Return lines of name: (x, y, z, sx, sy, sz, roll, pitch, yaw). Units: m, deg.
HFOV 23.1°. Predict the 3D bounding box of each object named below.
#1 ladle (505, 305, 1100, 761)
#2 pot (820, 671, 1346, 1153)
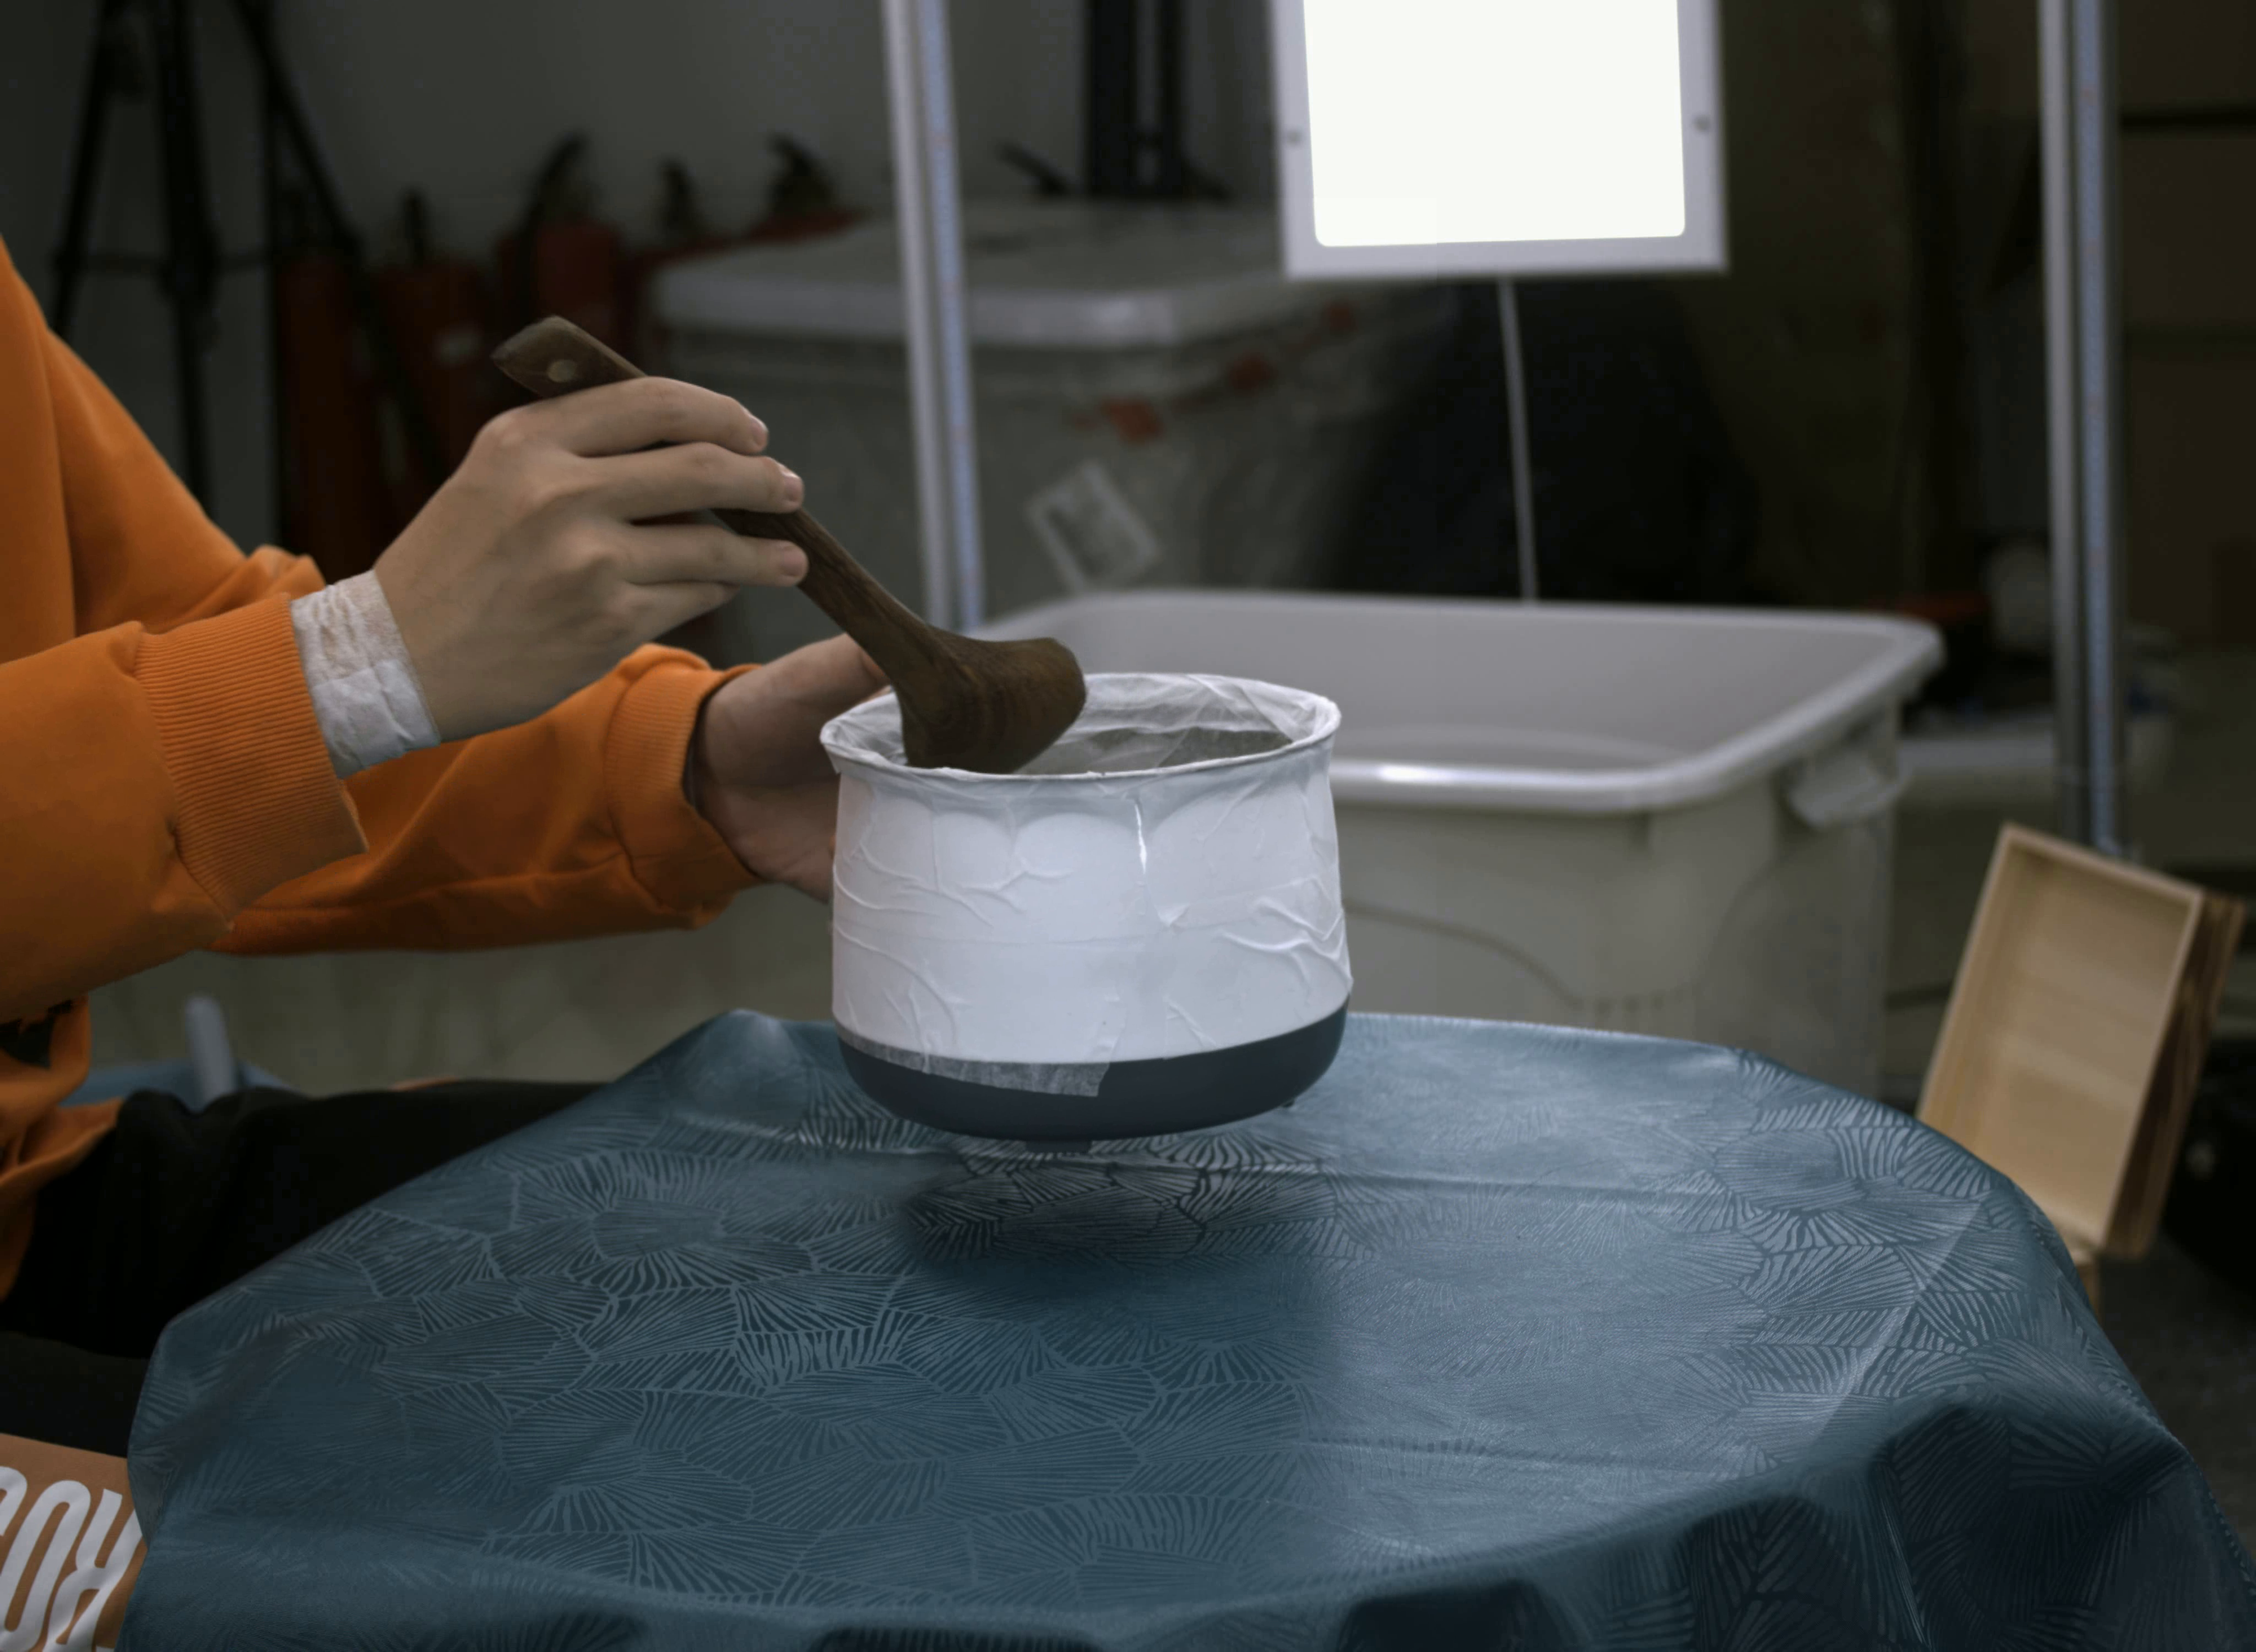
ladle: (-0.109, -0.101, 1.826, 0.077, 0.270, 0.071, -41, 34, 14)
pot: (-0.031, 0.023, 1.890, 0.174, 0.137, 0.238, -10, 15, -35)
